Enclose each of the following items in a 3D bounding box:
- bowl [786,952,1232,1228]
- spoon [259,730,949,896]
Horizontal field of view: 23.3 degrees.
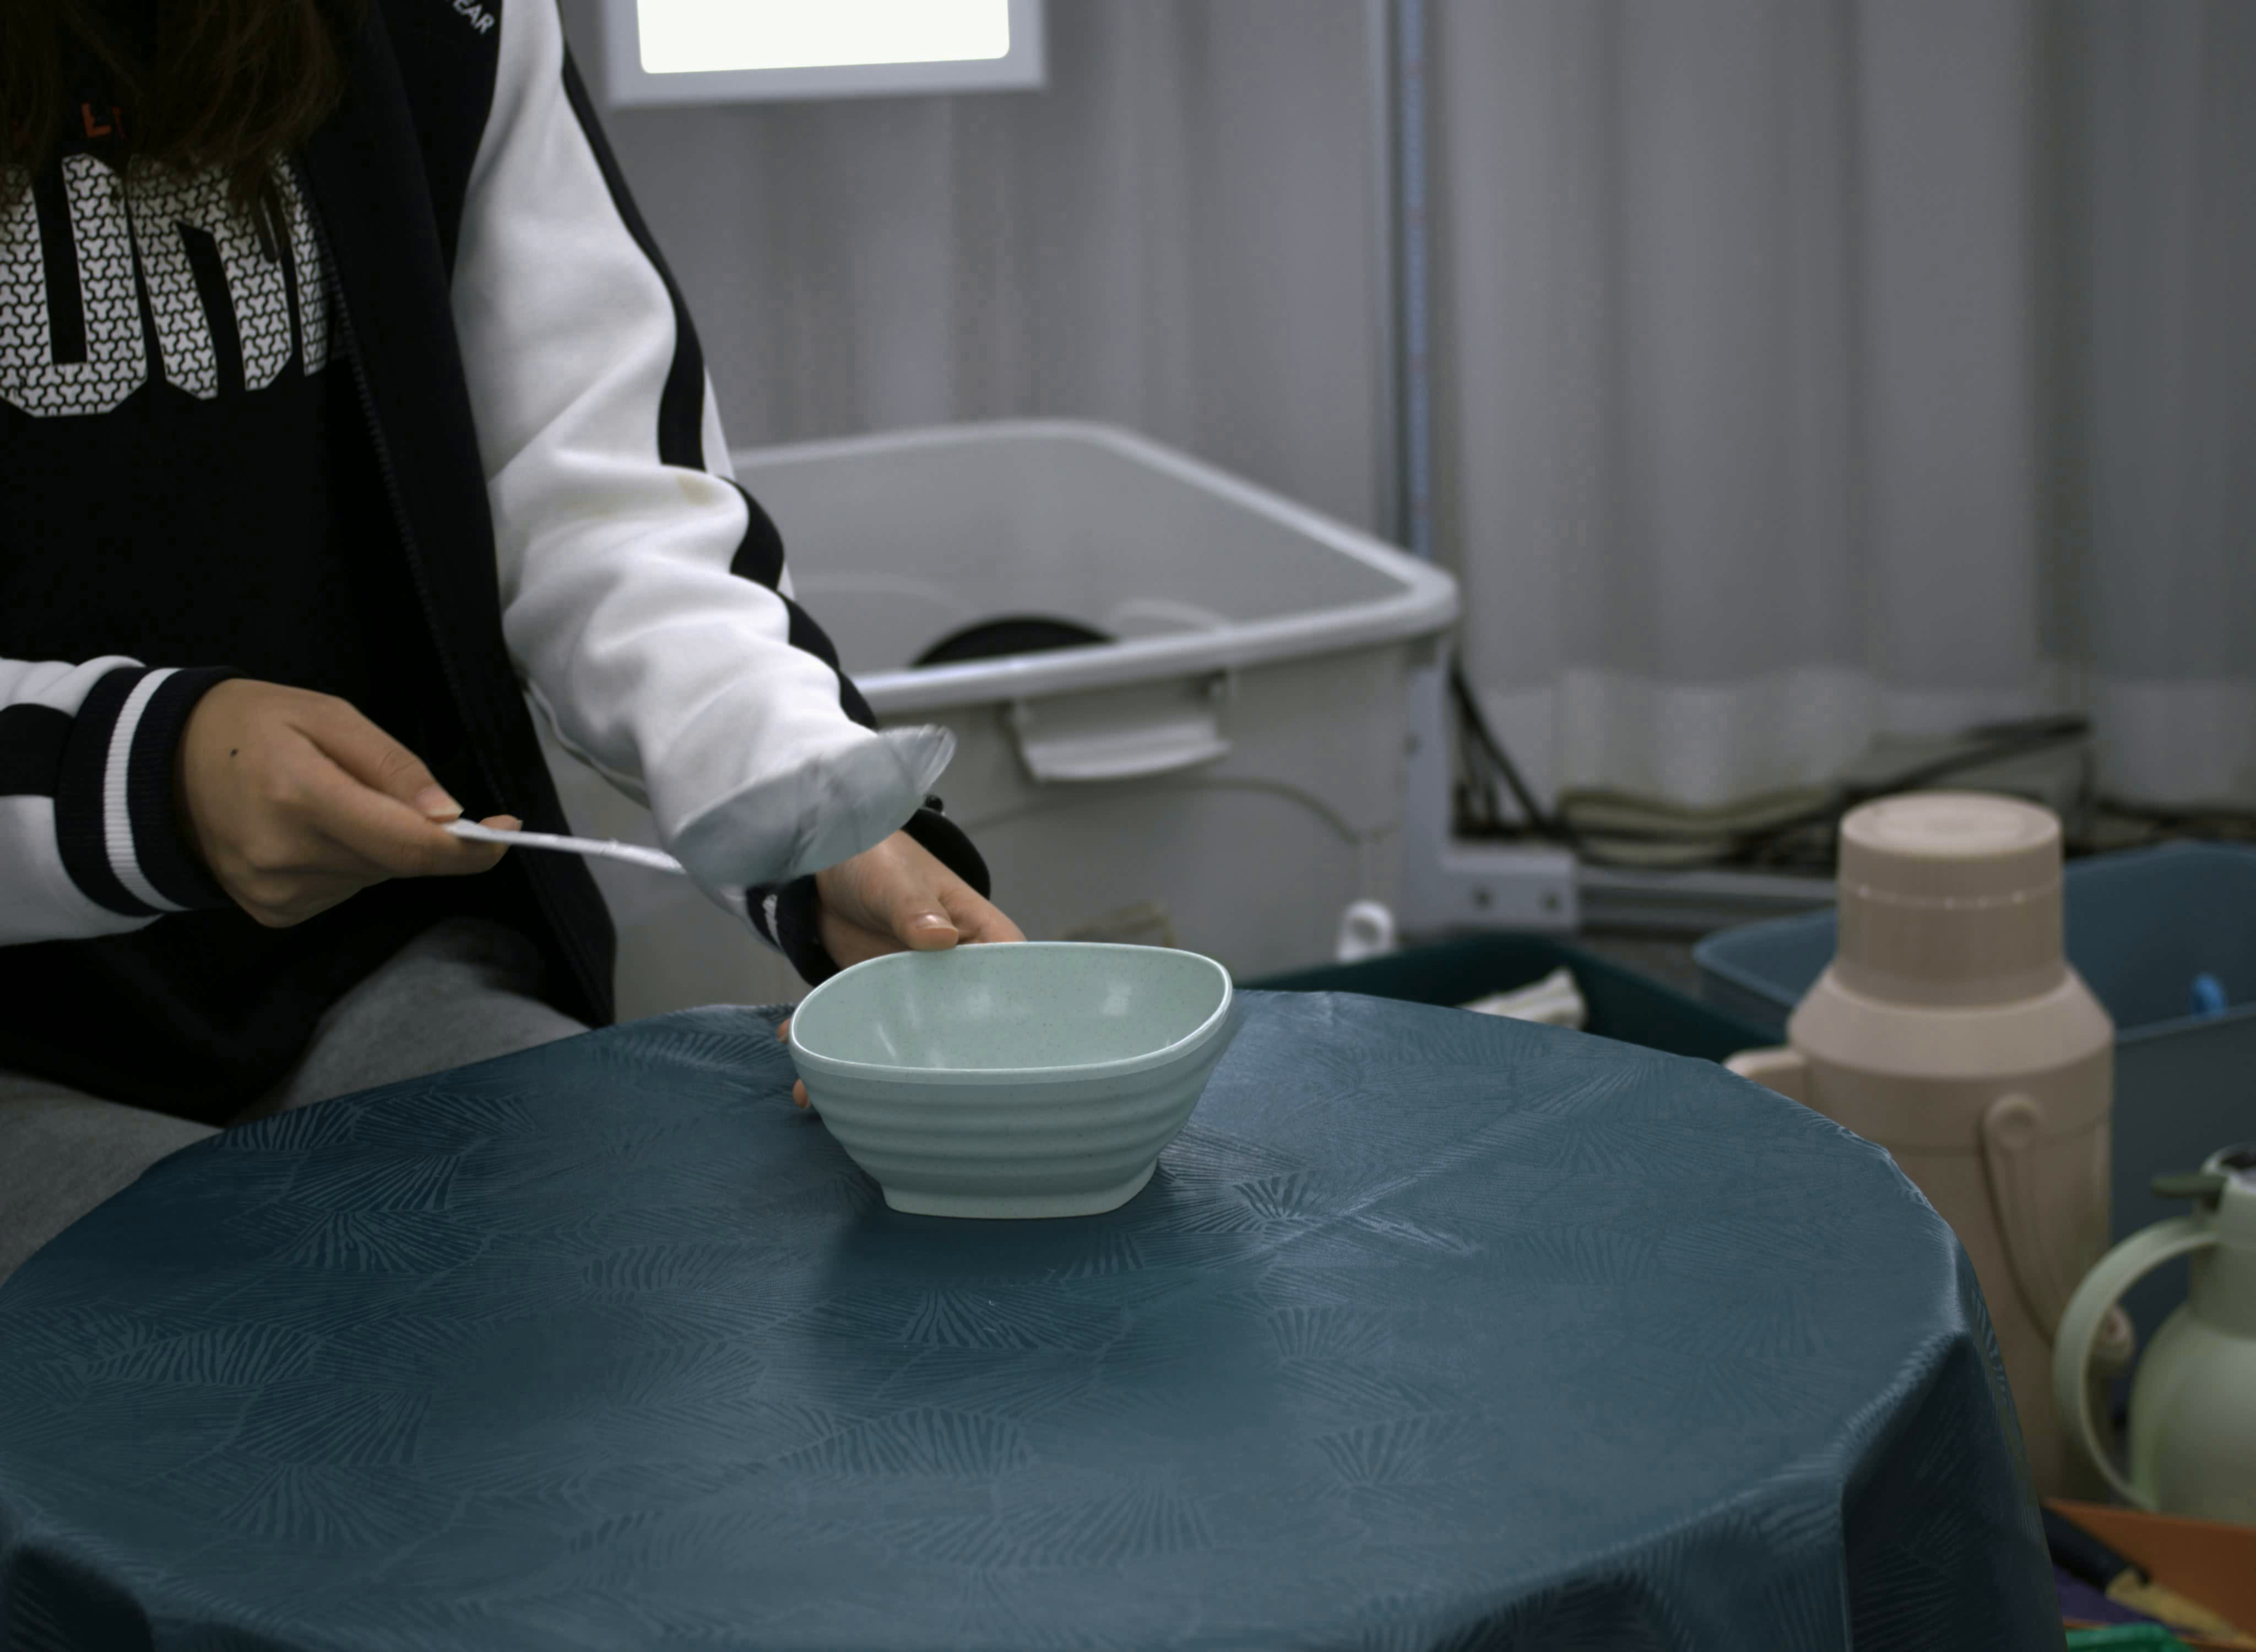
[{"bbox_3d":[-0.036,0.086,1.727,0.151,0.058,0.152,-3,14,0],"label":"bowl"},{"bbox_3d":[-0.170,-0.019,1.694,0.279,0.059,0.100,11,8,40],"label":"spoon"}]
